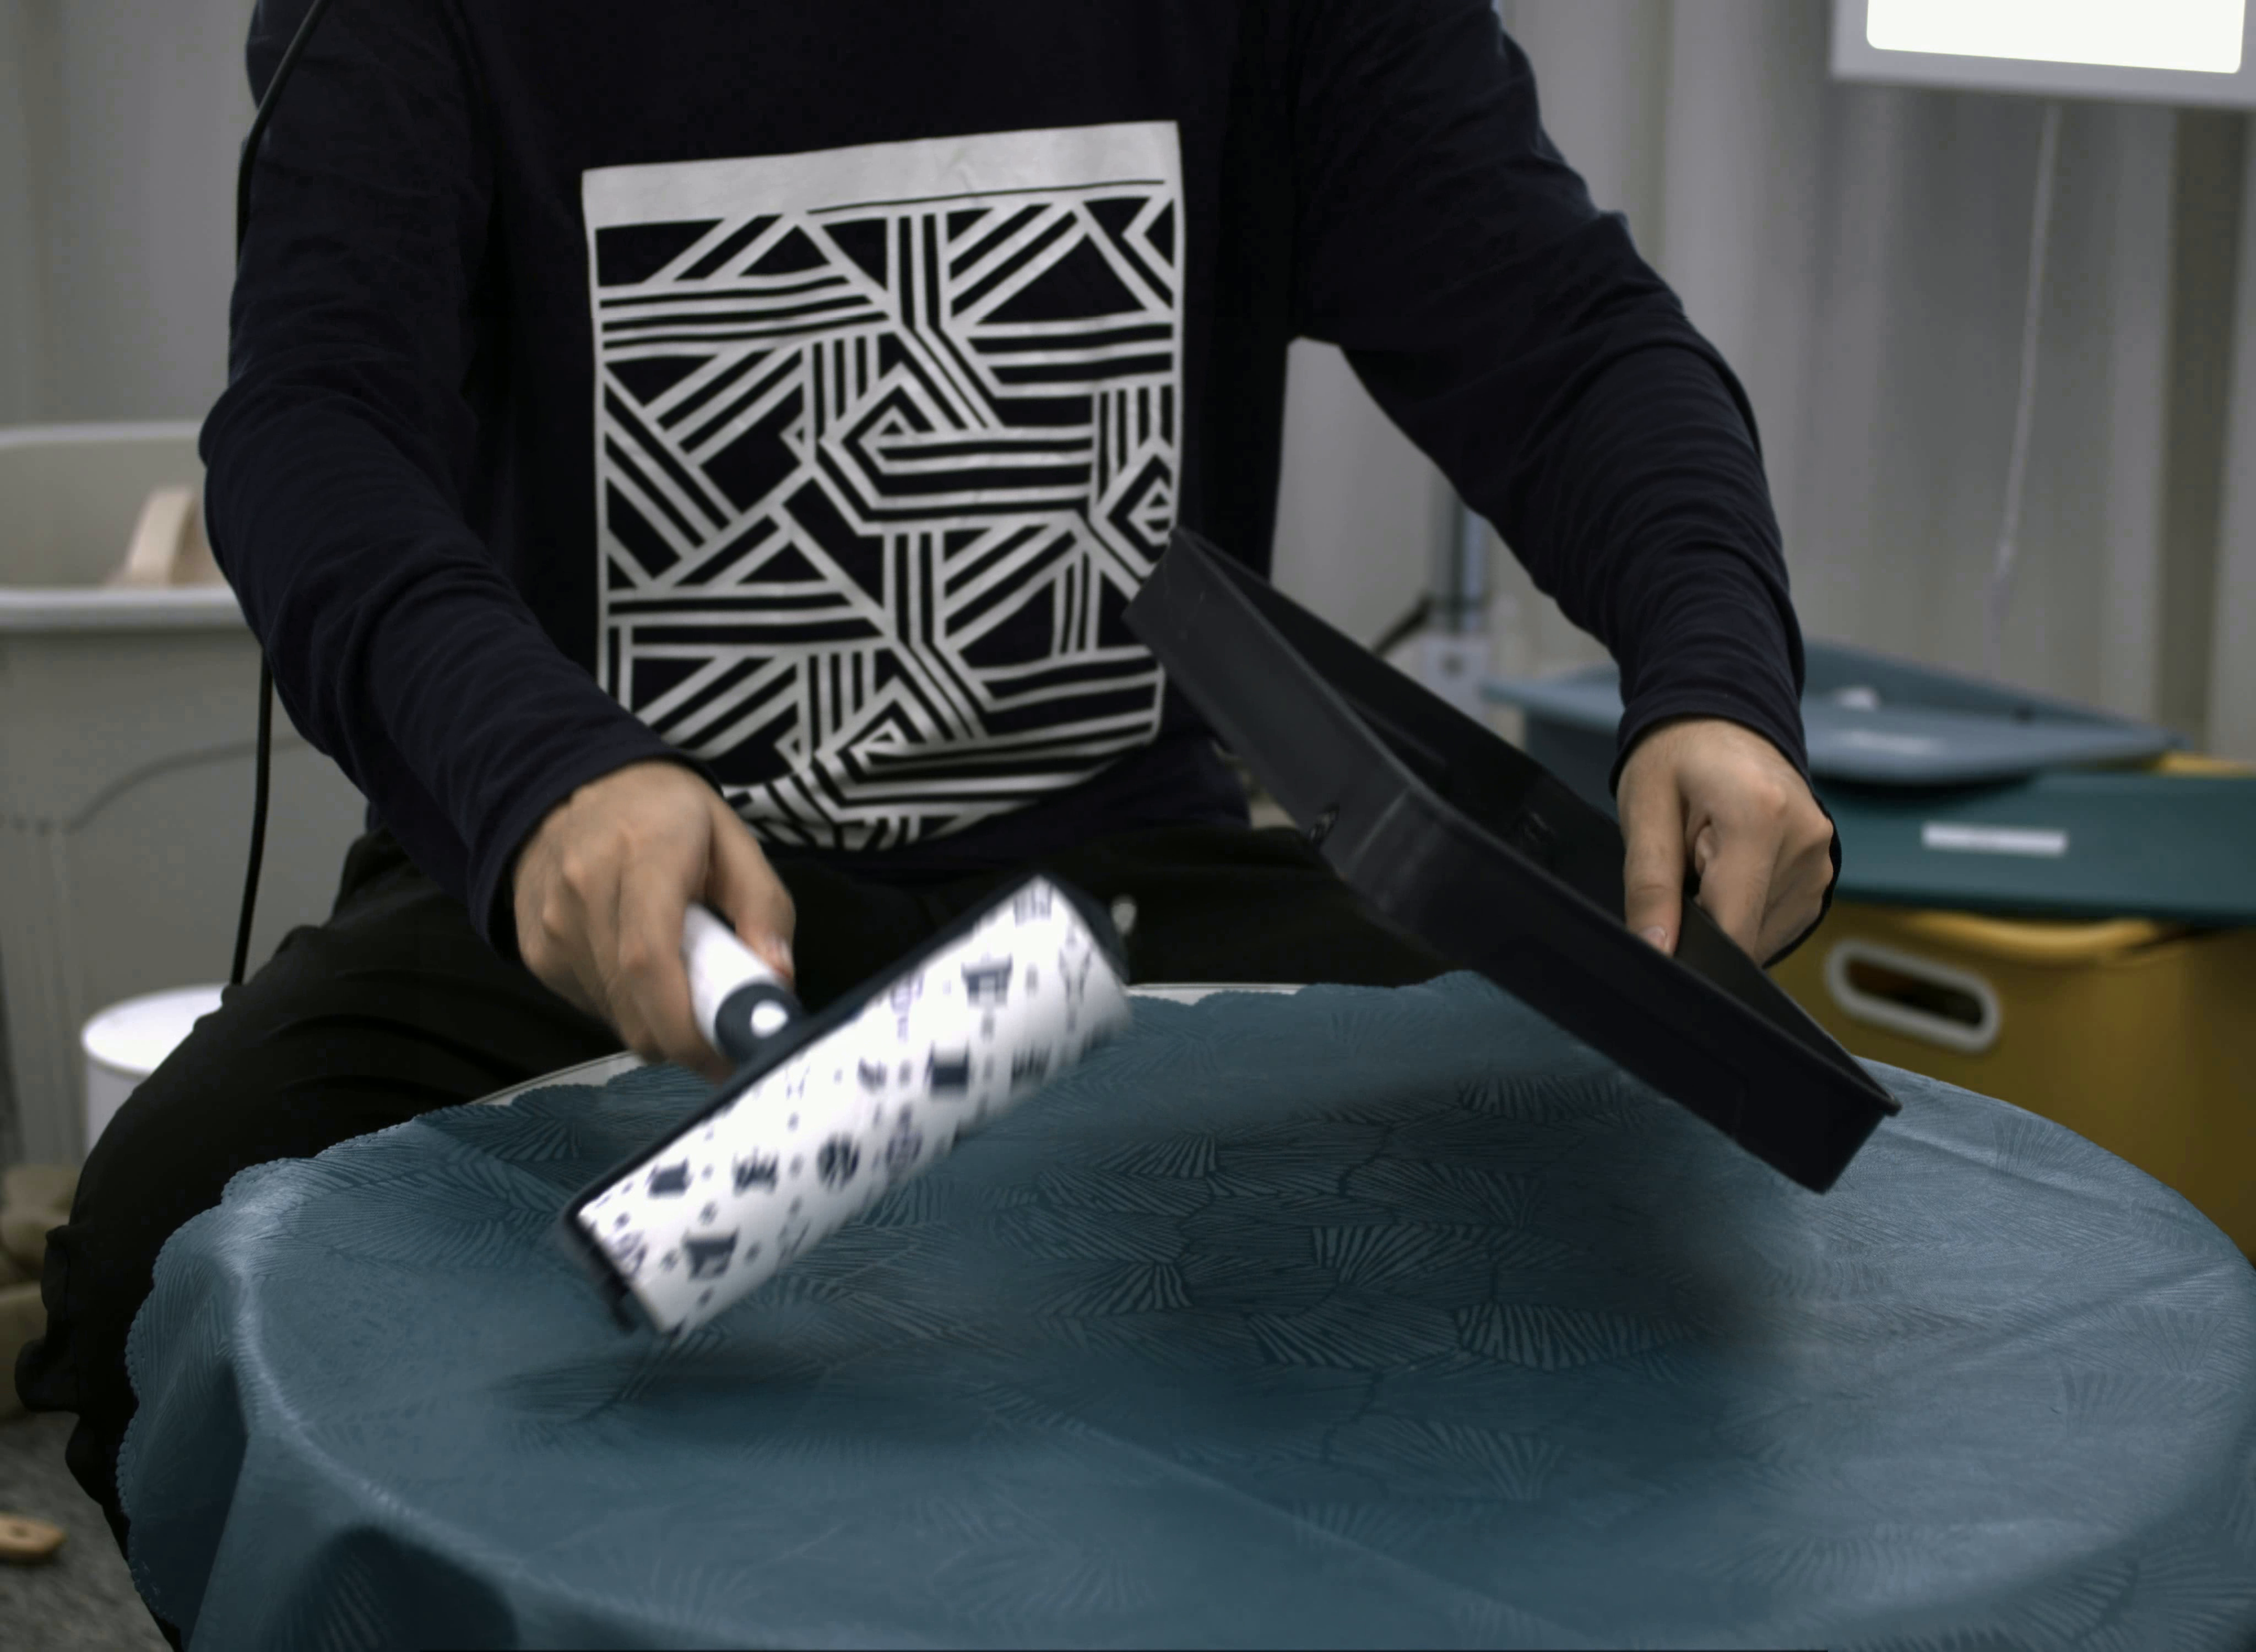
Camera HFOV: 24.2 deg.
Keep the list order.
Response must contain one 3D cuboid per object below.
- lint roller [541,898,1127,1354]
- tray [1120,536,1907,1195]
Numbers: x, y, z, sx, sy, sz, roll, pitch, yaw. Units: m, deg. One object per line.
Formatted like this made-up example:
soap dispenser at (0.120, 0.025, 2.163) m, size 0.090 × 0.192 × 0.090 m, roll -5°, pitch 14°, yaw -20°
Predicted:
lint roller at (-0.115, 0.060, 1.552) m, size 0.176 × 0.051 × 0.244 m, roll -34°, pitch 24°, yaw -10°
tray at (0.107, 0.006, 1.586) m, size 0.186 × 0.037 × 0.315 m, roll 33°, pitch 7°, yaw -20°
